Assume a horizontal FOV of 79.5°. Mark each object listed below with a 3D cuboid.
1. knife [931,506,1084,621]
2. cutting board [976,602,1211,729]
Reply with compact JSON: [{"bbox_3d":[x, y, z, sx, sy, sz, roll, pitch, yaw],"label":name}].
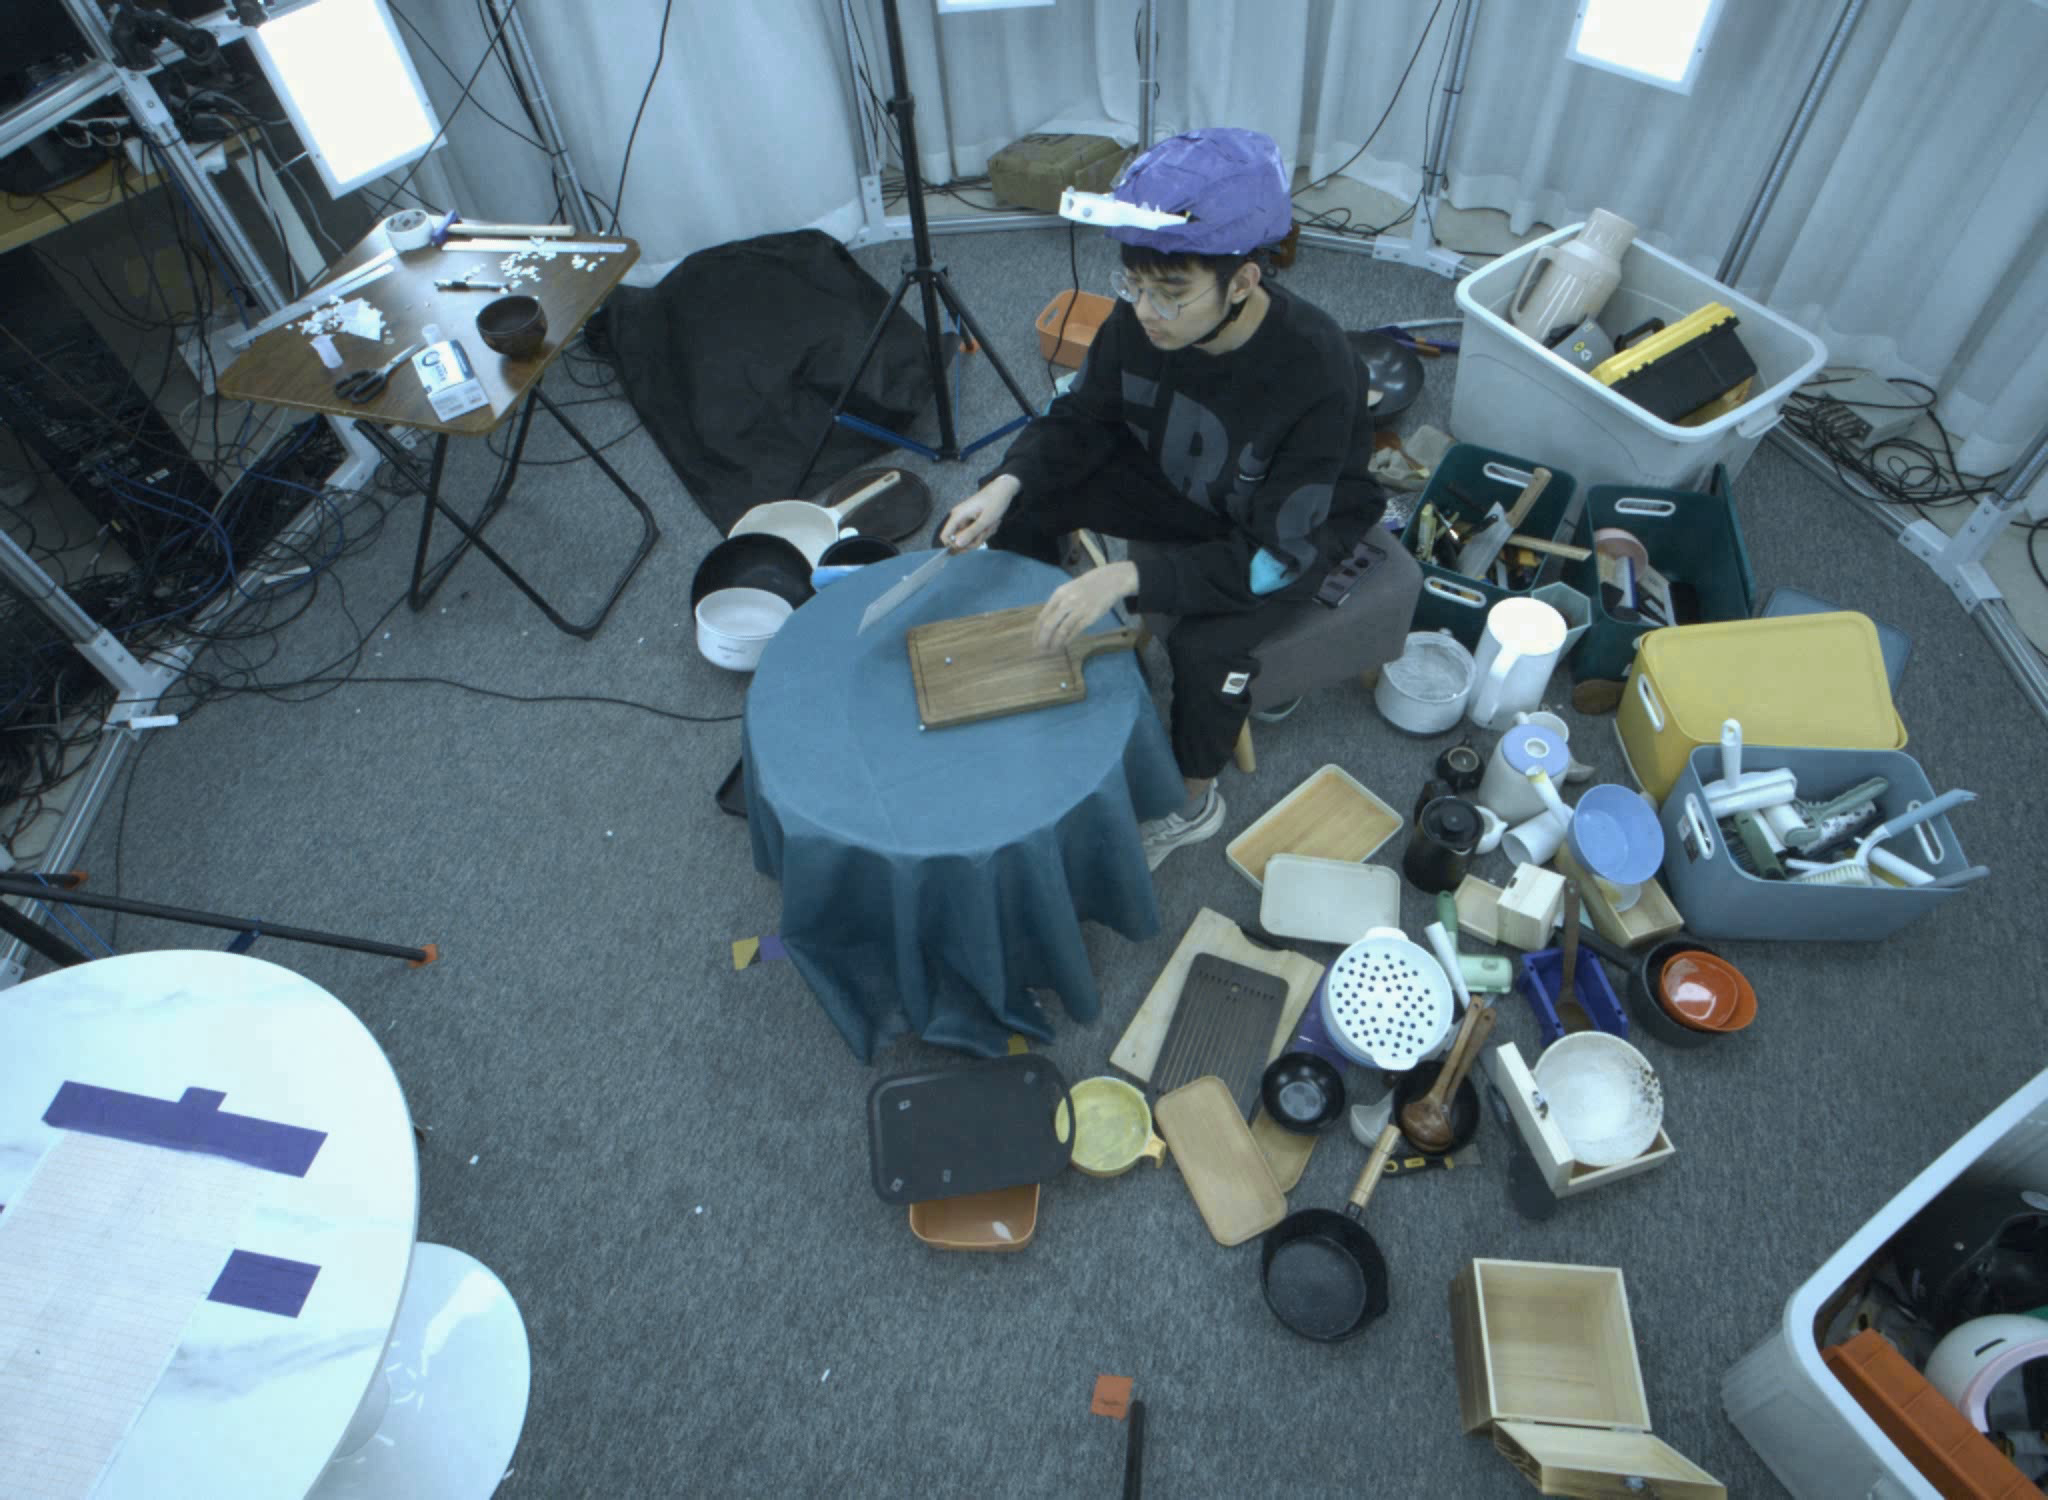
[{"bbox_3d":[-0.027,-0.288,1.909,0.308,0.092,0.021,-38,83,-27],"label":"knife"},{"bbox_3d":[0.111,-0.138,1.867,0.353,0.023,0.198,-8,55,-3],"label":"cutting board"}]
